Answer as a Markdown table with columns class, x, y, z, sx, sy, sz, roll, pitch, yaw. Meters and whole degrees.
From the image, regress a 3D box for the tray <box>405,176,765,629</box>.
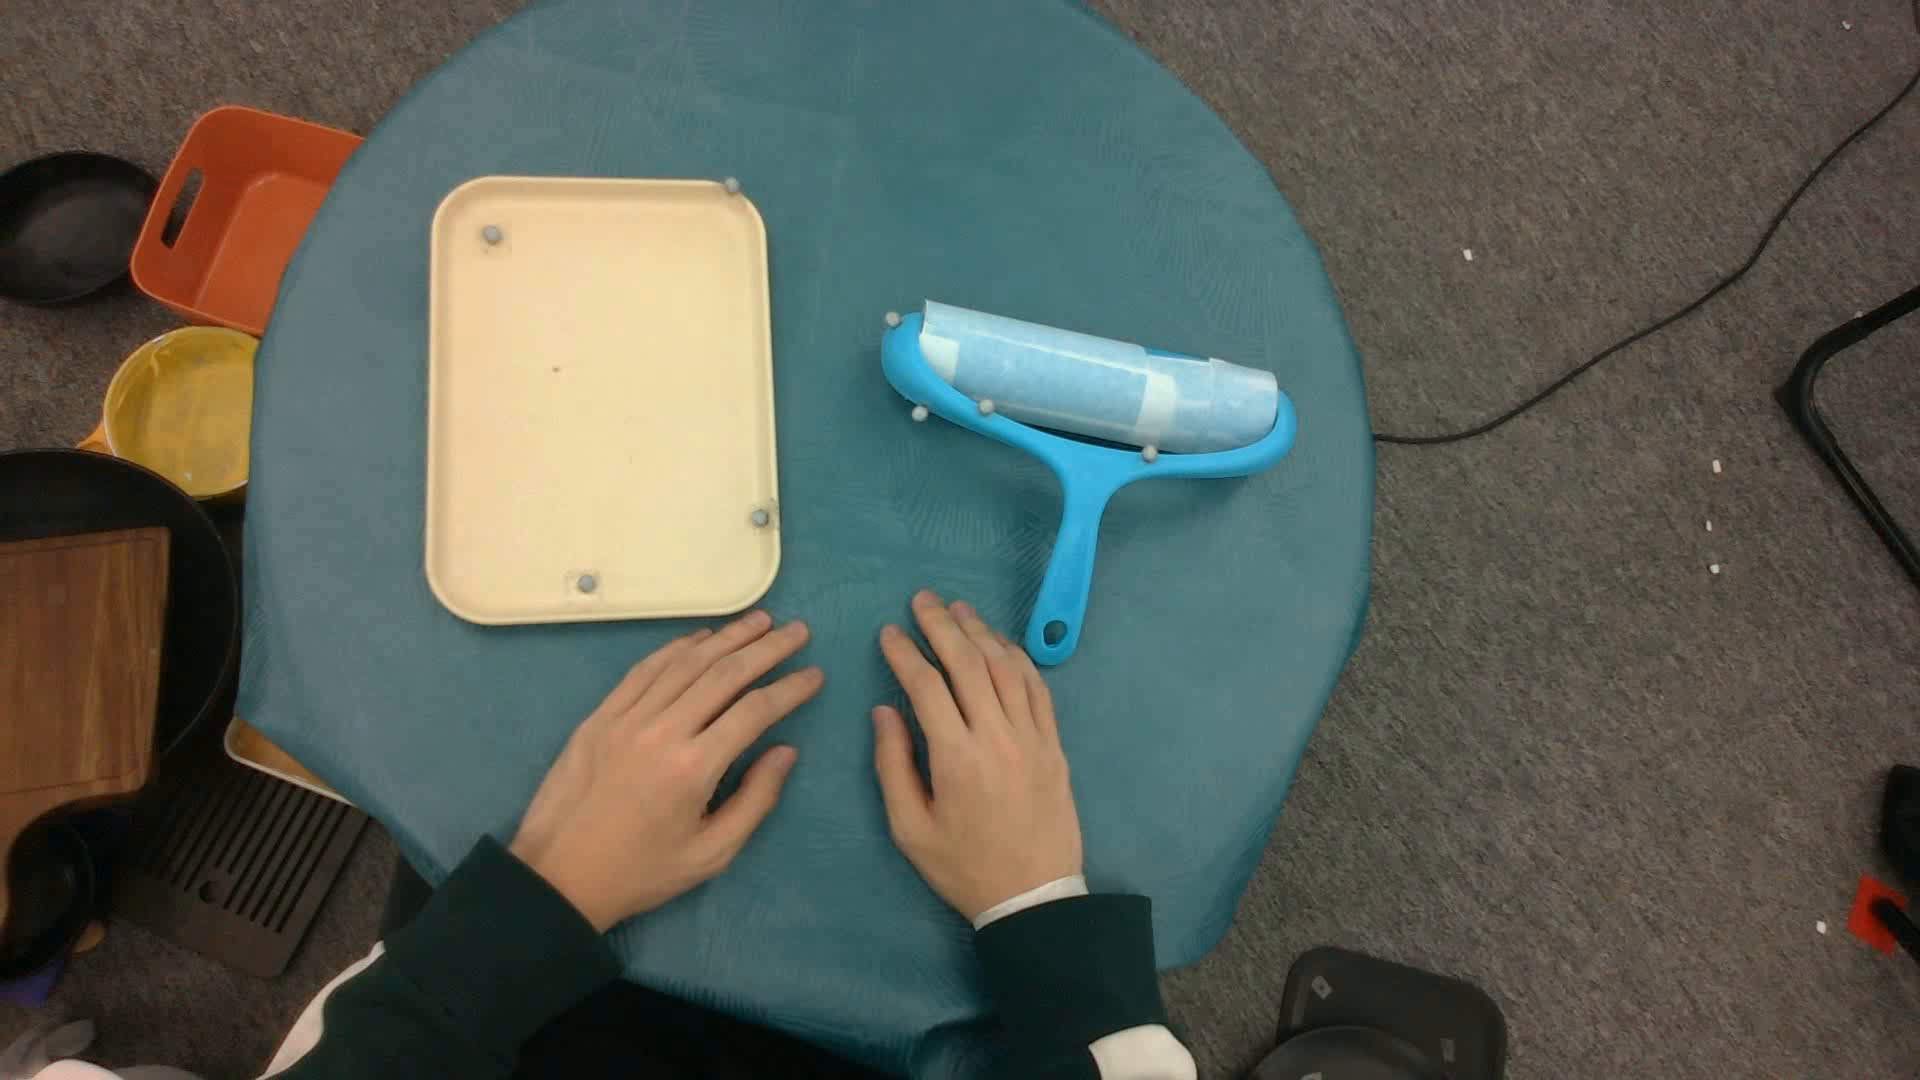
| class | x | y | z | sx | sy | sz | roll | pitch | yaw |
| --- | --- | --- | --- | --- | --- | --- | --- | --- | --- |
| tray | -0.193 | -0.075 | 0.710 | 0.171 | 0.017 | 0.240 | -4 | 76 | -10 |

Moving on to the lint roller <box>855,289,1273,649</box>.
| class | x | y | z | sx | sy | sz | roll | pitch | yaw |
| --- | --- | --- | --- | --- | --- | --- | --- | --- | --- |
| lint roller | 0.054 | -0.036 | 0.723 | 0.229 | 0.067 | 0.181 | 7 | 73 | -10 |
